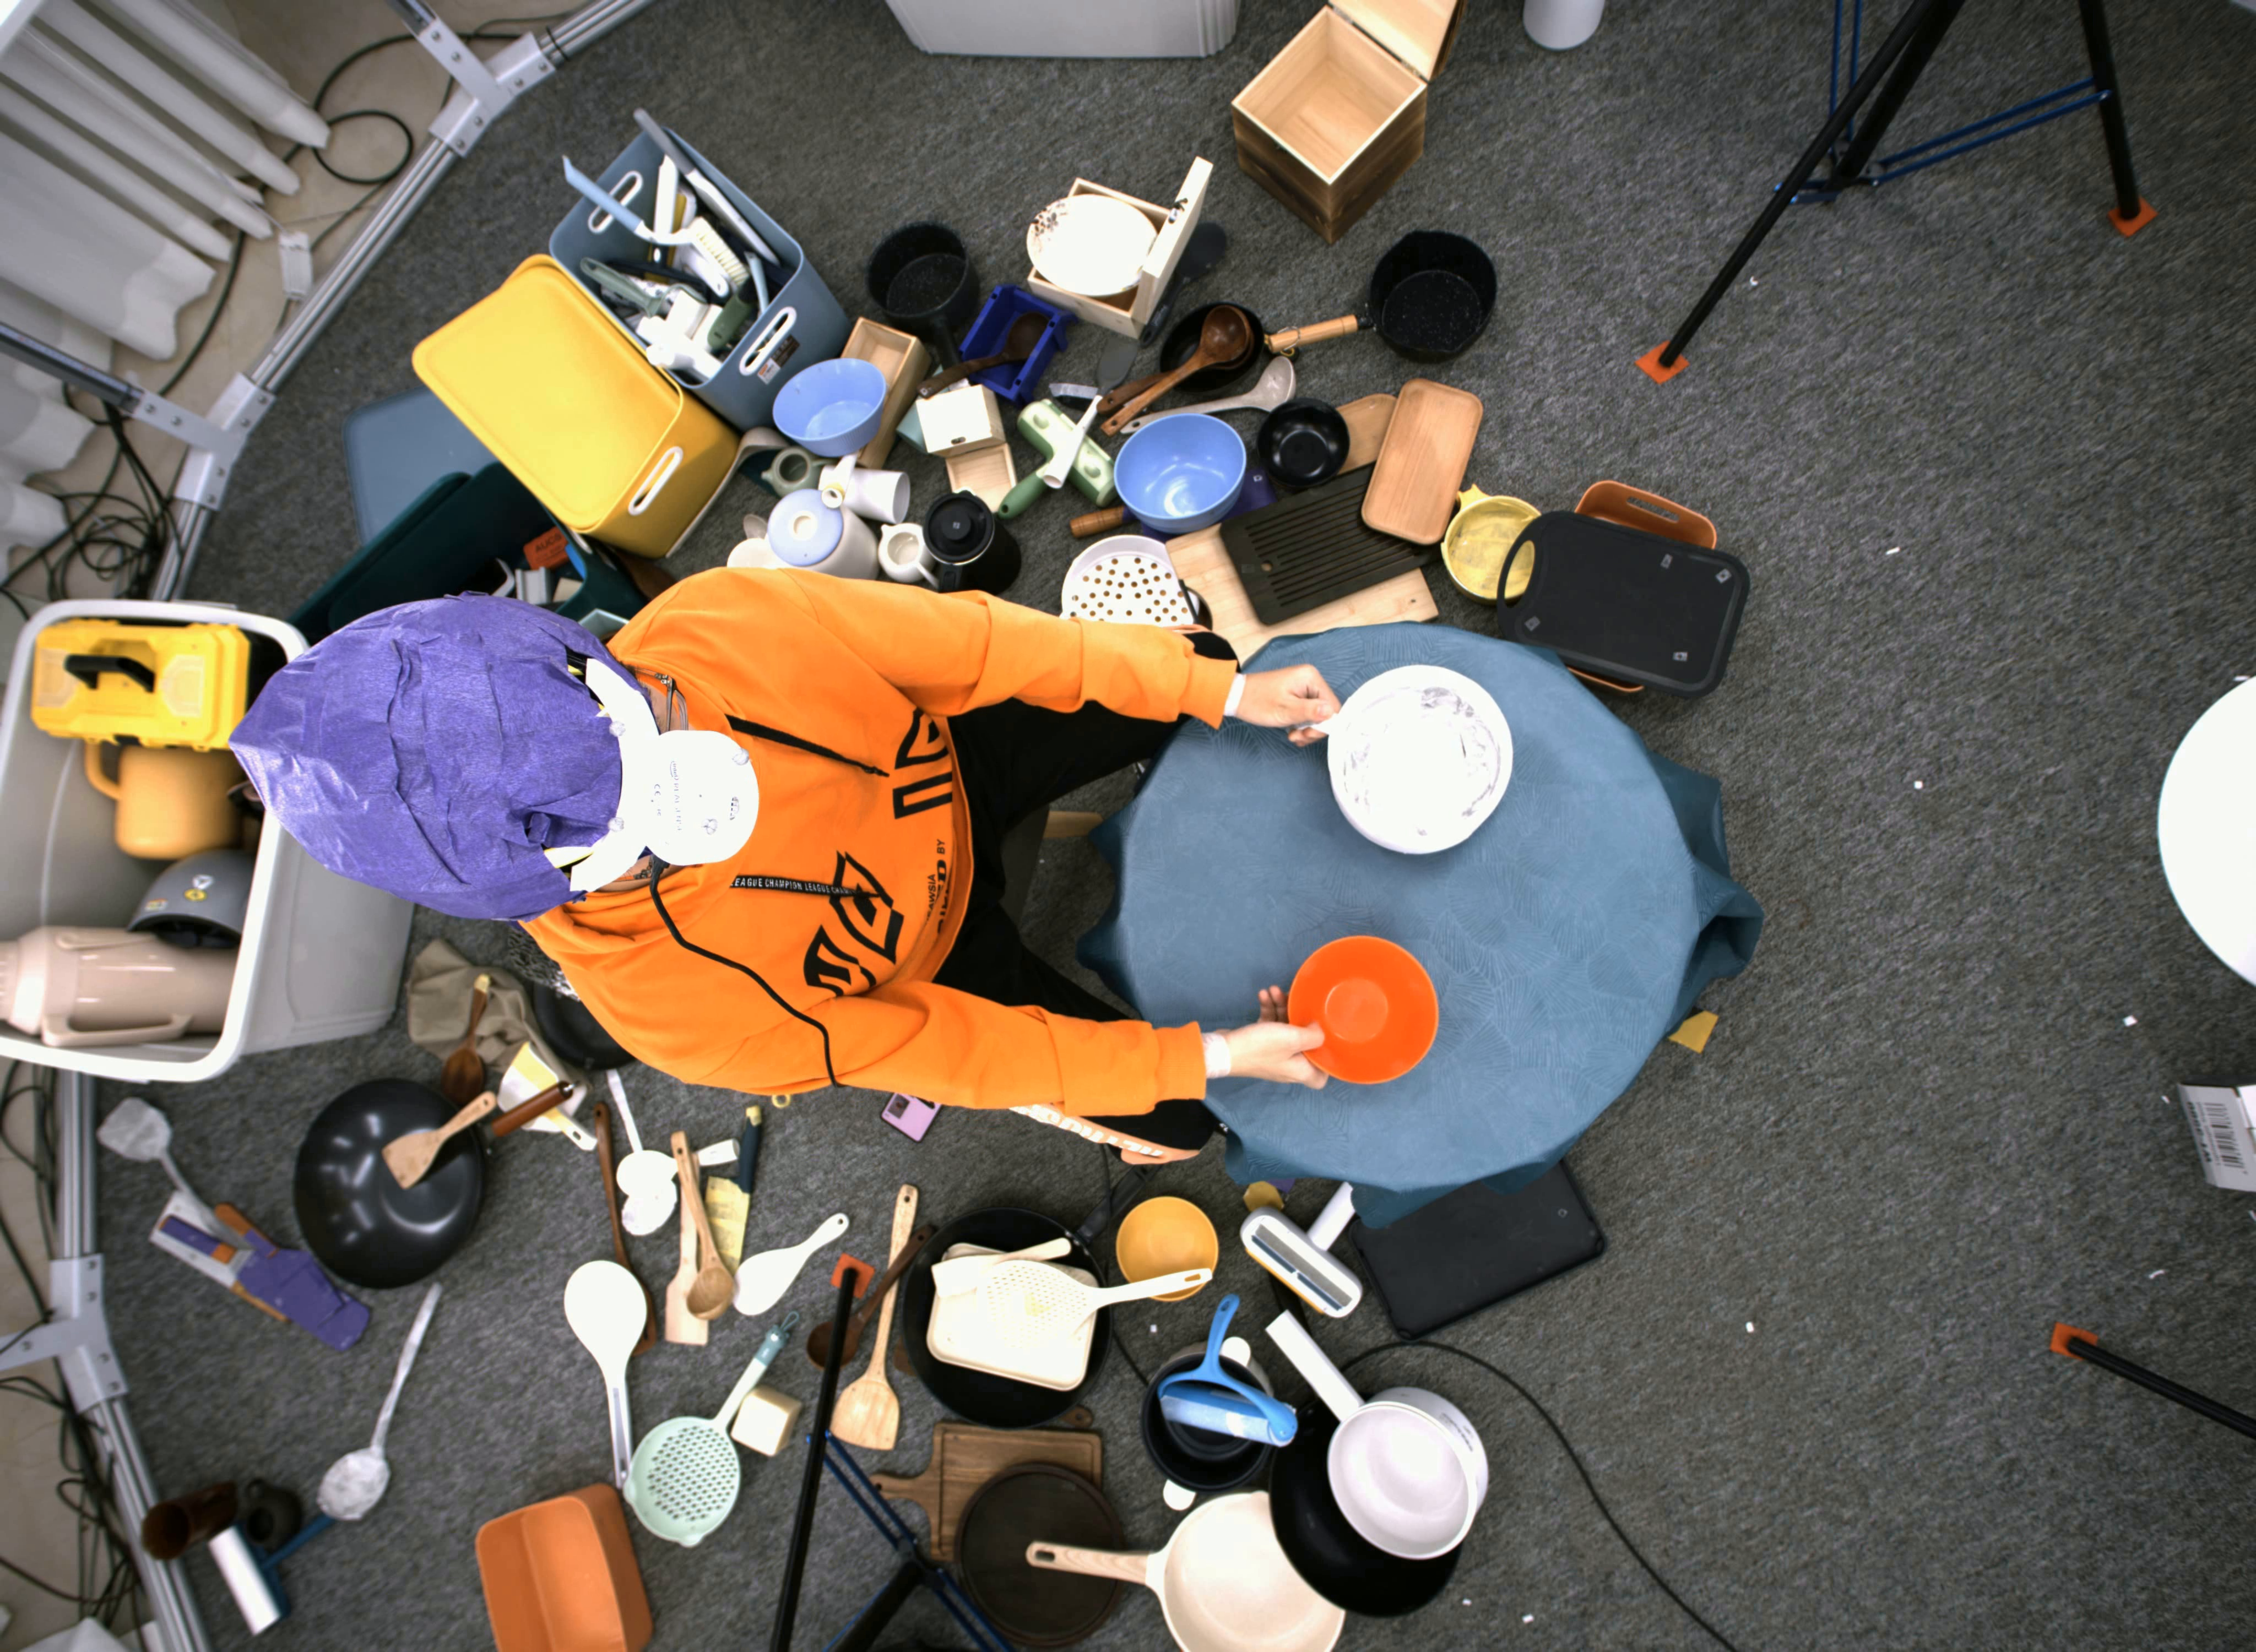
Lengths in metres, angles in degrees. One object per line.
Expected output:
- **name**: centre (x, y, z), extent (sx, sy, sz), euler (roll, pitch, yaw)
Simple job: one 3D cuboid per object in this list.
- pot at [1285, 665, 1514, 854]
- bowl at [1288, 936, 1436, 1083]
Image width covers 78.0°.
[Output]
- **pot**: centre (0.268, -0.074, 1.398), extent (0.233, 0.137, 0.178), euler (23, 89, 11)
- **bowl**: centre (0.240, 0.183, 1.409), extent (0.148, 0.104, 0.148), euler (0, 90, 13)
